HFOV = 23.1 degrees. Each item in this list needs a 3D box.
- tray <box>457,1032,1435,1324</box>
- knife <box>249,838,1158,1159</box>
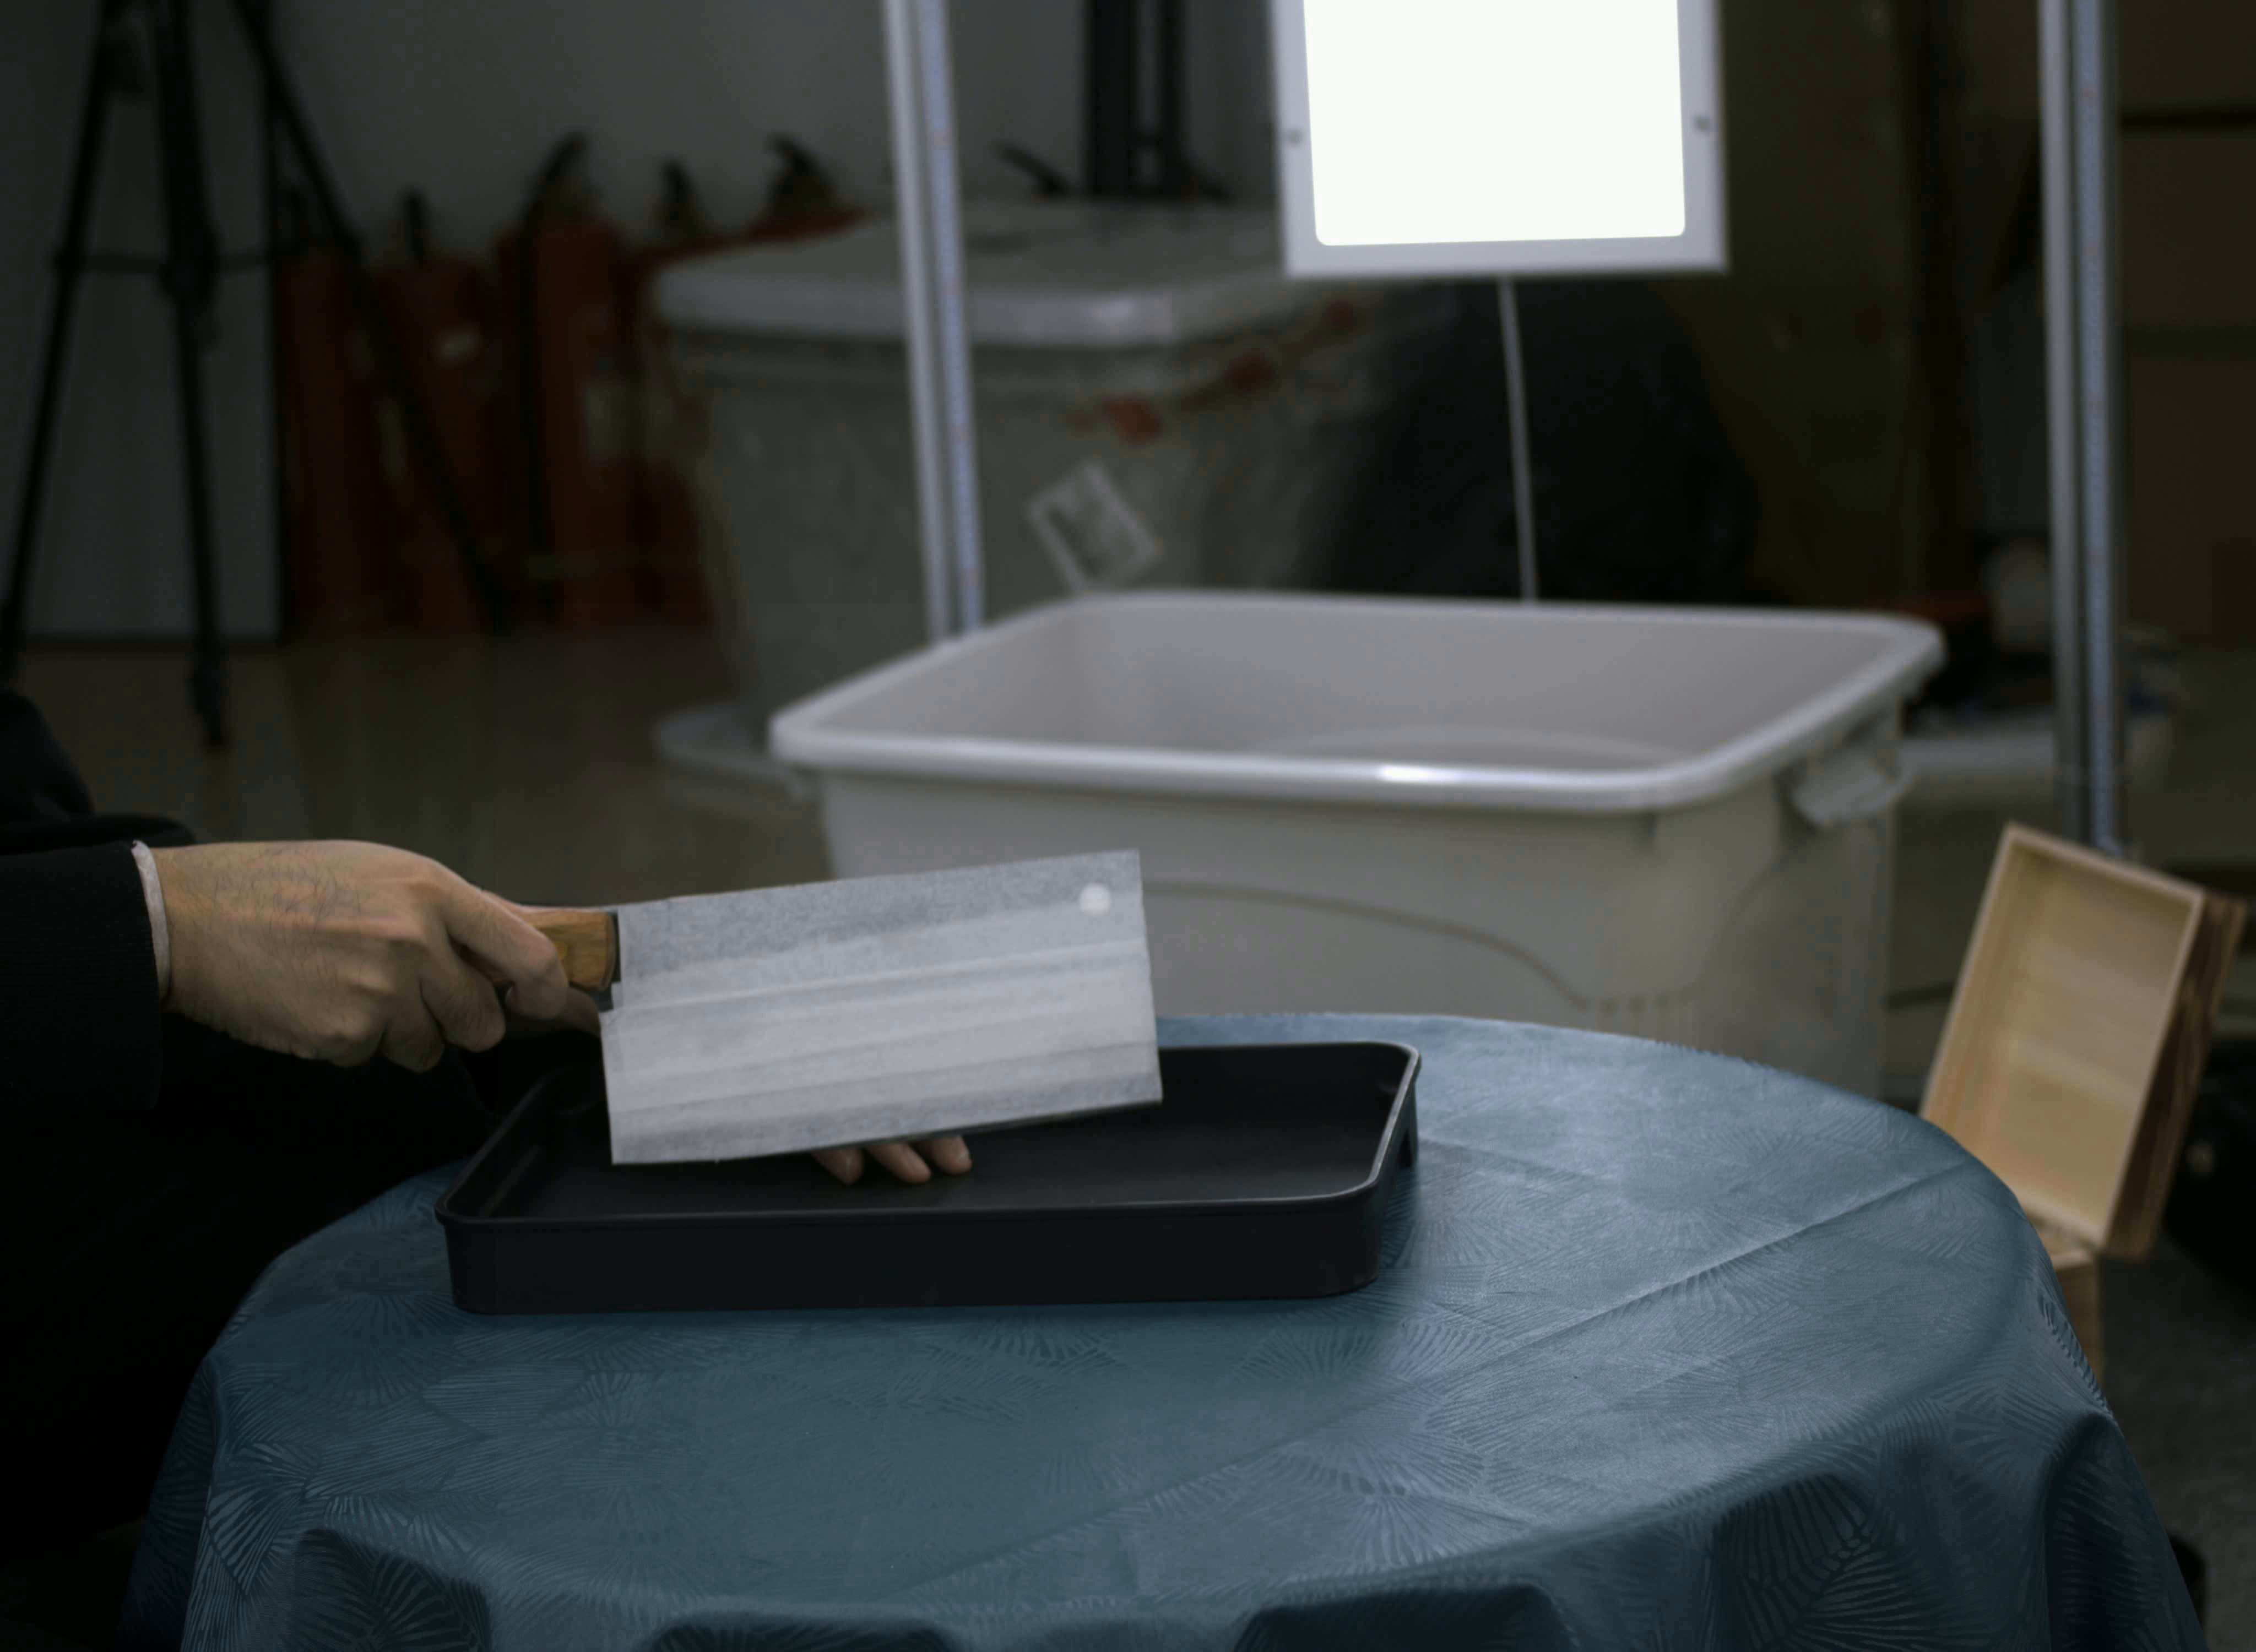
[{"bbox_3d":[-0.056,0.118,1.877,0.320,0.037,0.182,-3,14,10],"label":"tray"},{"bbox_3d":[-0.142,0.064,1.872,0.304,0.093,0.021,-7,8,-2],"label":"knife"}]
